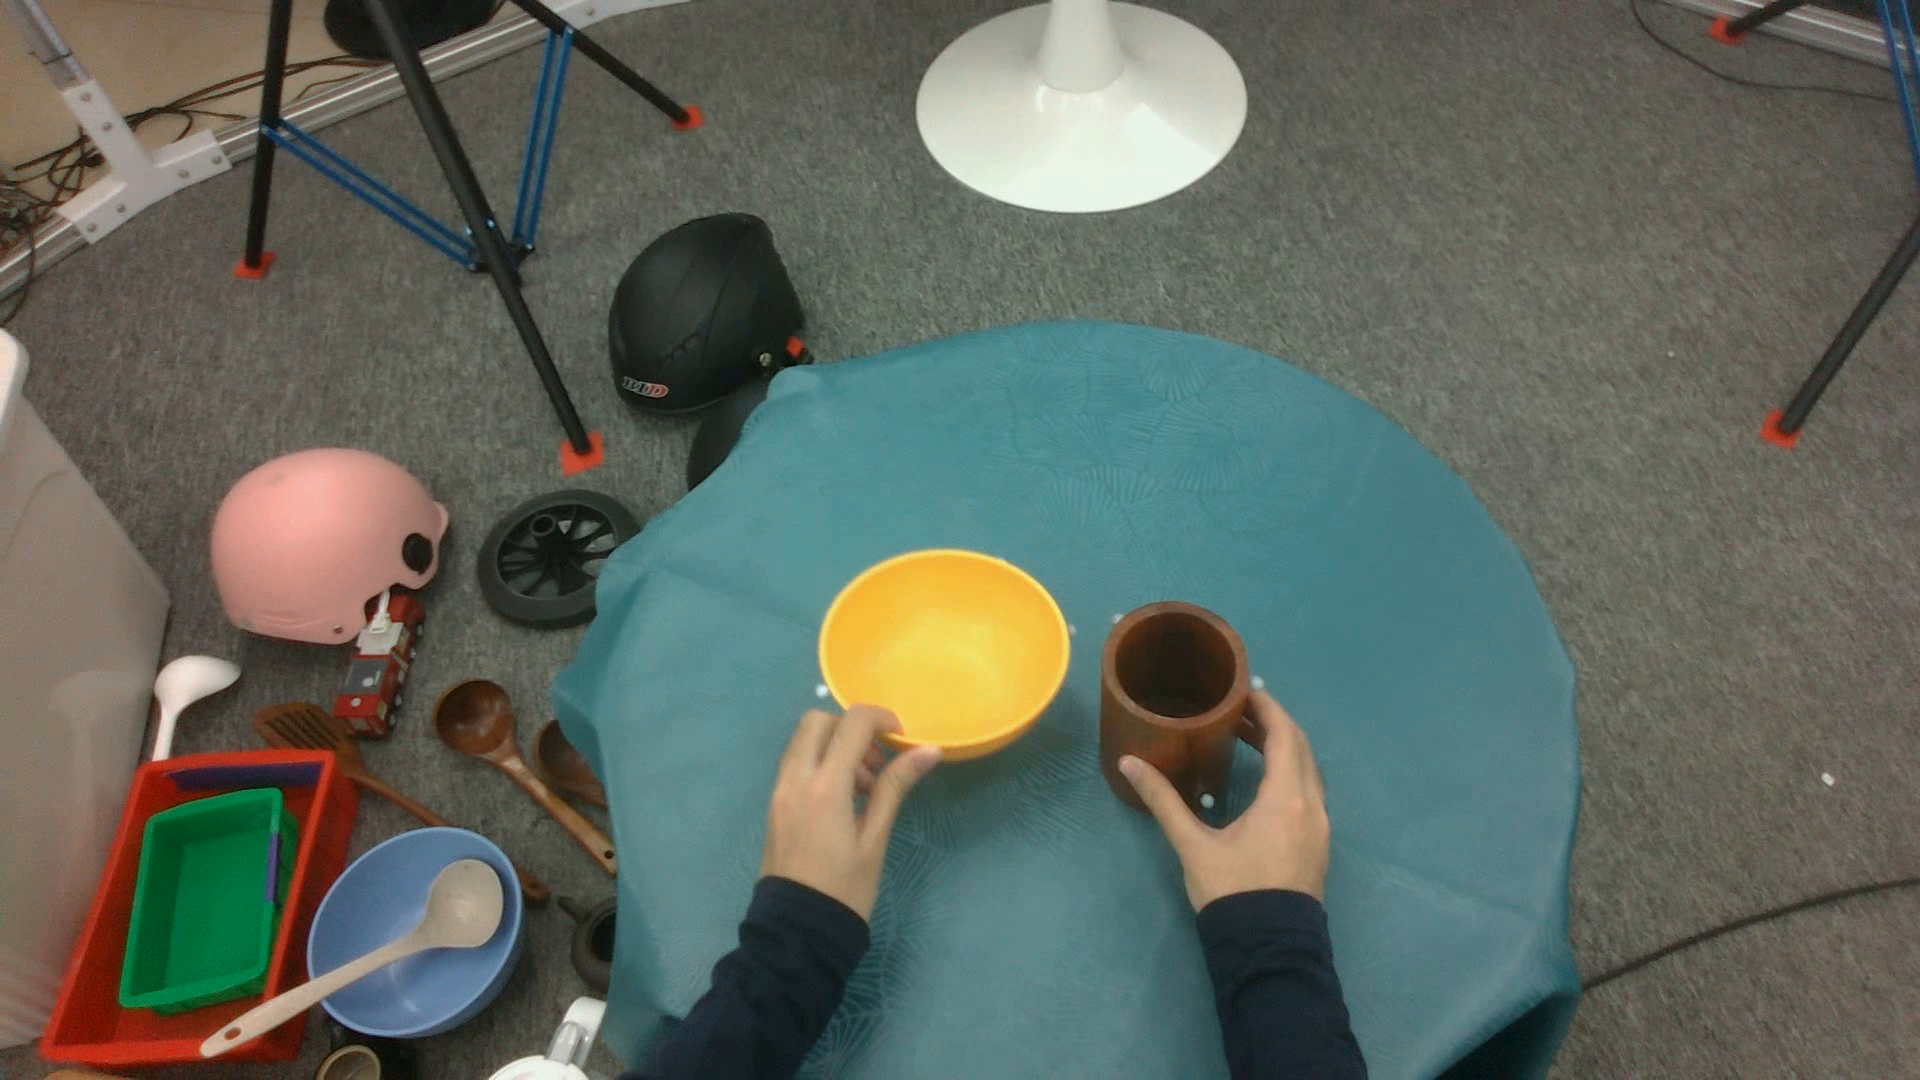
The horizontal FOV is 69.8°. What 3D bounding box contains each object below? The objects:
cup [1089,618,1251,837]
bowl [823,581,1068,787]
[{"bbox_3d":[0.122,0.110,0.789,0.087,0.118,0.088,-4,53,6],"label":"cup"},{"bbox_3d":[-0.008,0.096,0.829,0.145,0.060,0.146,-1,46,1],"label":"bowl"}]
